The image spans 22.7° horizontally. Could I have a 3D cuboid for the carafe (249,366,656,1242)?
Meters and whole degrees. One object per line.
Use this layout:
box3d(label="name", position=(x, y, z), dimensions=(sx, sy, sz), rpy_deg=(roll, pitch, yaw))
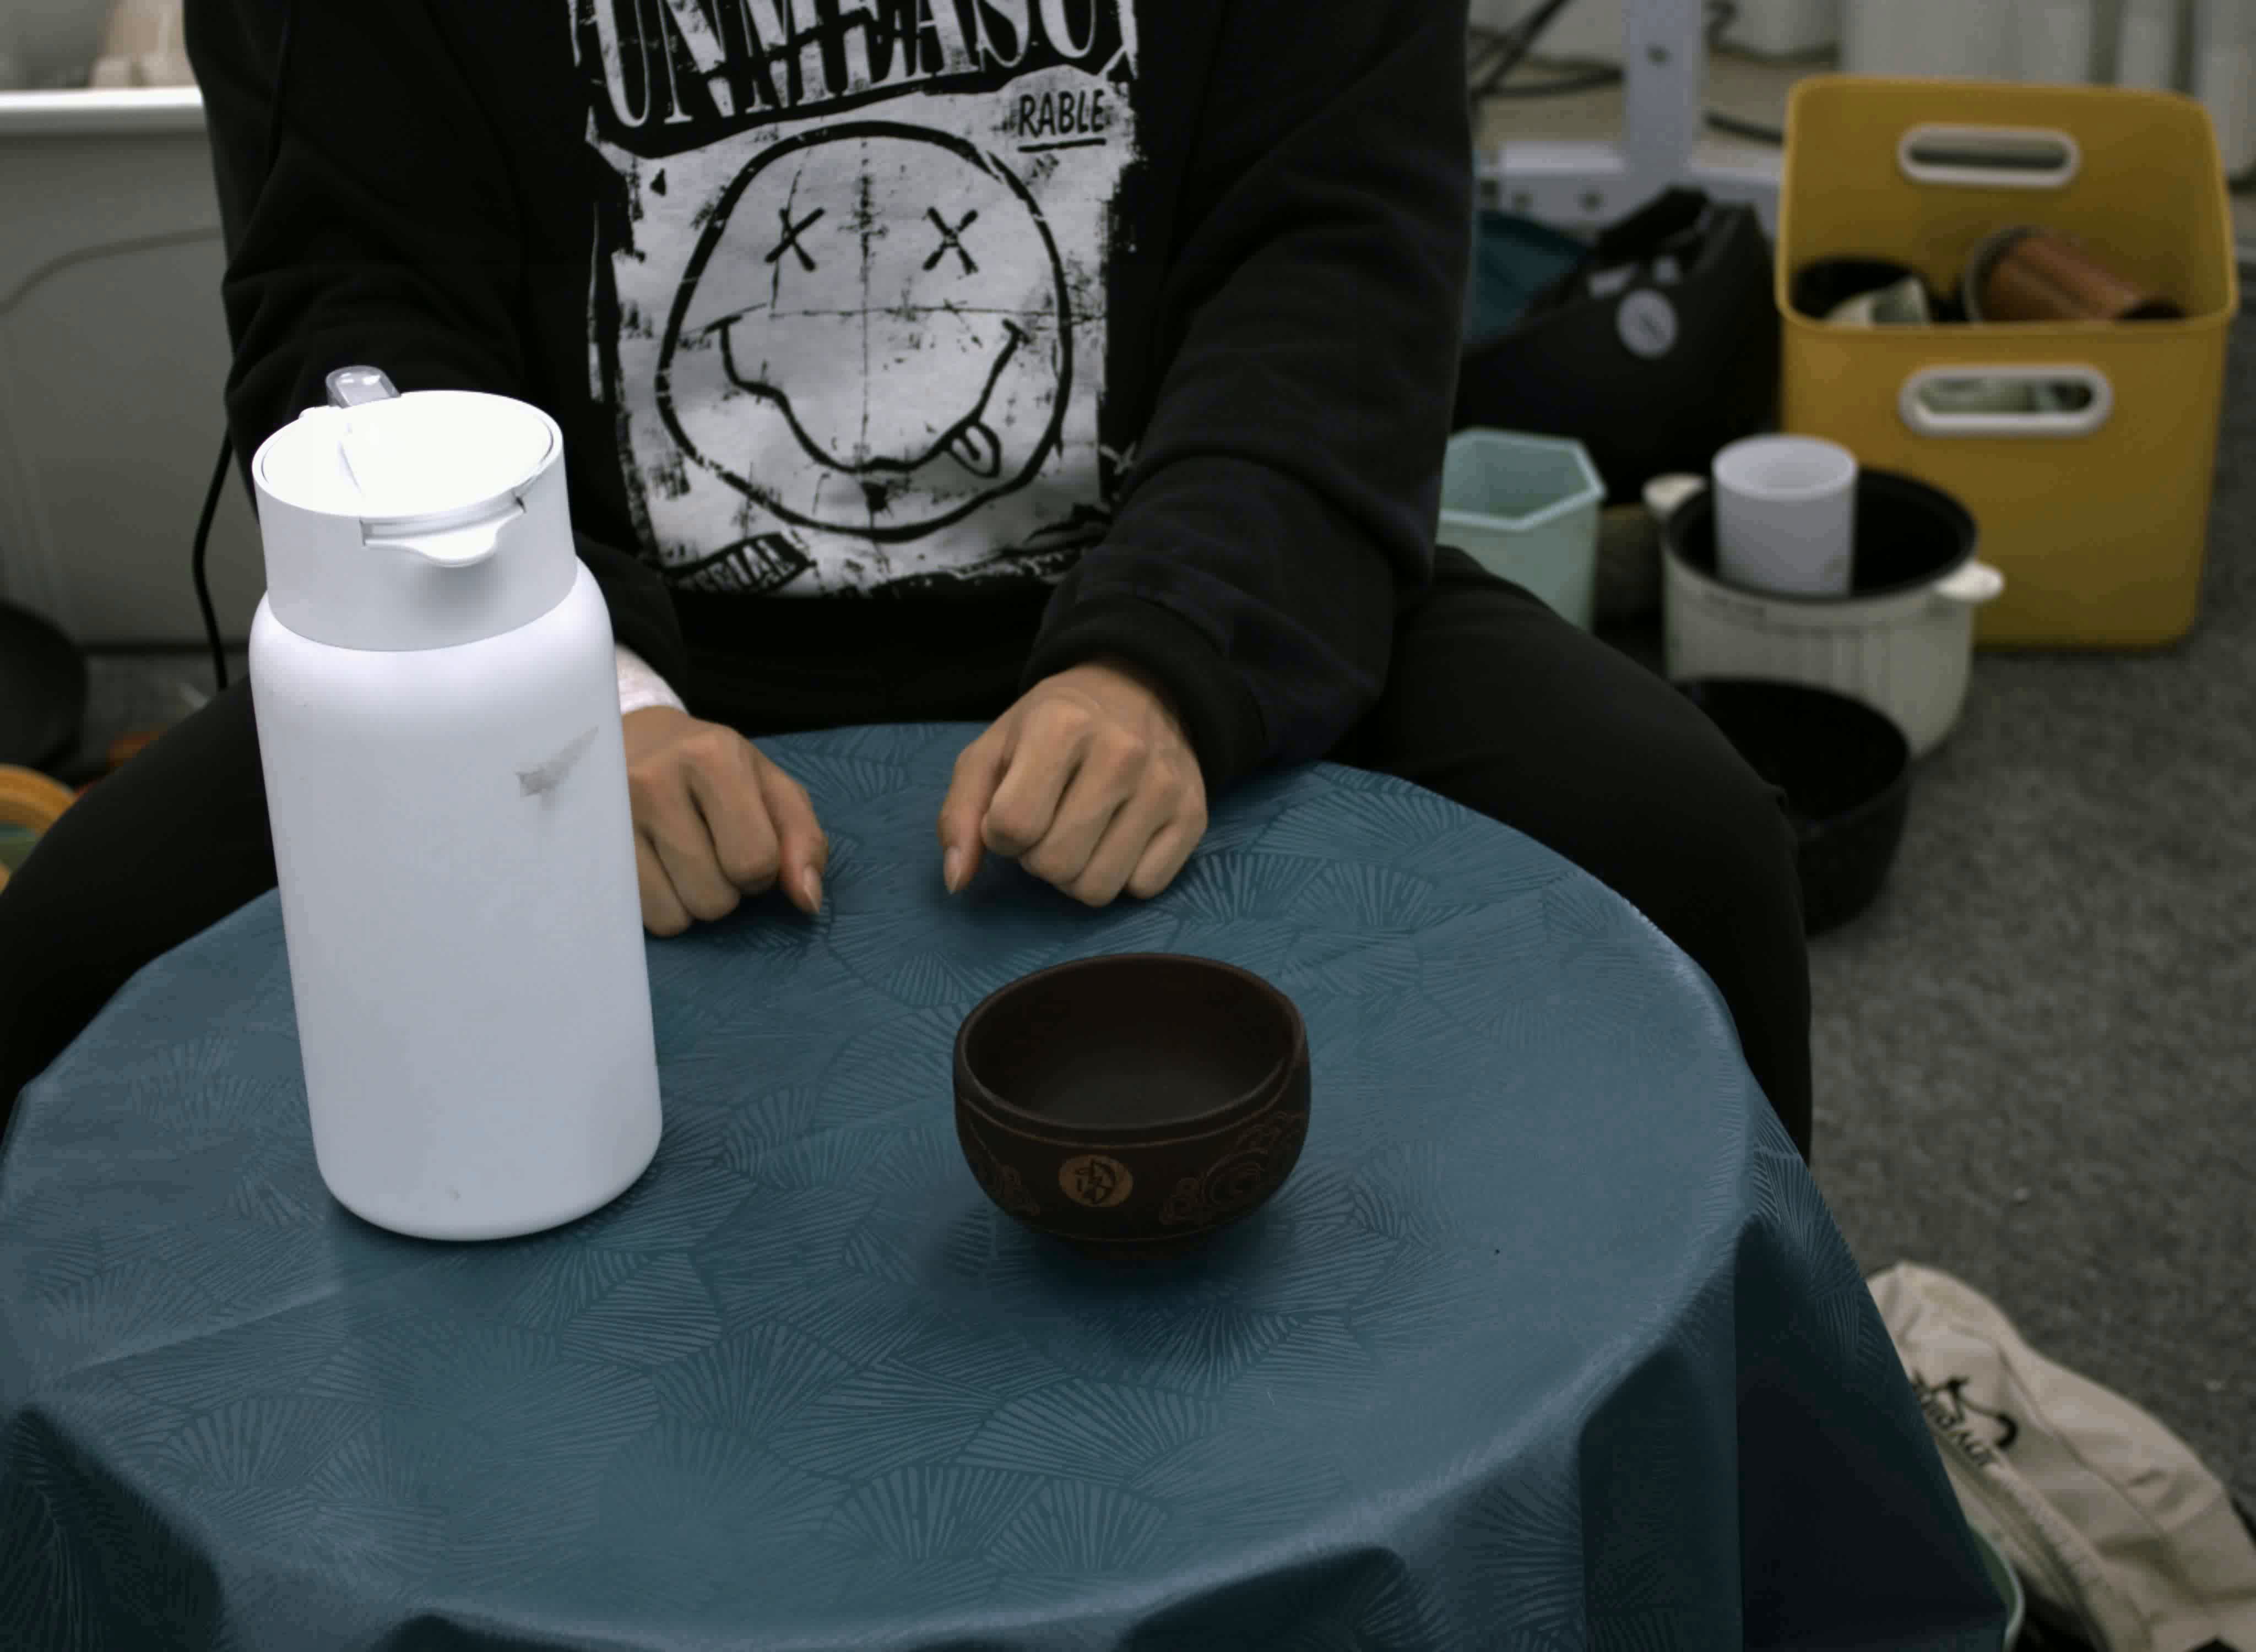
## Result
box3d(label="carafe", position=(-0.230, -0.011, 1.851), dimensions=(0.124, 0.266, 0.174), rpy_deg=(-15, 28, -19))

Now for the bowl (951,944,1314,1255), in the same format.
box3d(label="bowl", position=(0.002, 0.096, 1.828), dimensions=(0.117, 0.069, 0.120), rpy_deg=(-3, 26, 2))
